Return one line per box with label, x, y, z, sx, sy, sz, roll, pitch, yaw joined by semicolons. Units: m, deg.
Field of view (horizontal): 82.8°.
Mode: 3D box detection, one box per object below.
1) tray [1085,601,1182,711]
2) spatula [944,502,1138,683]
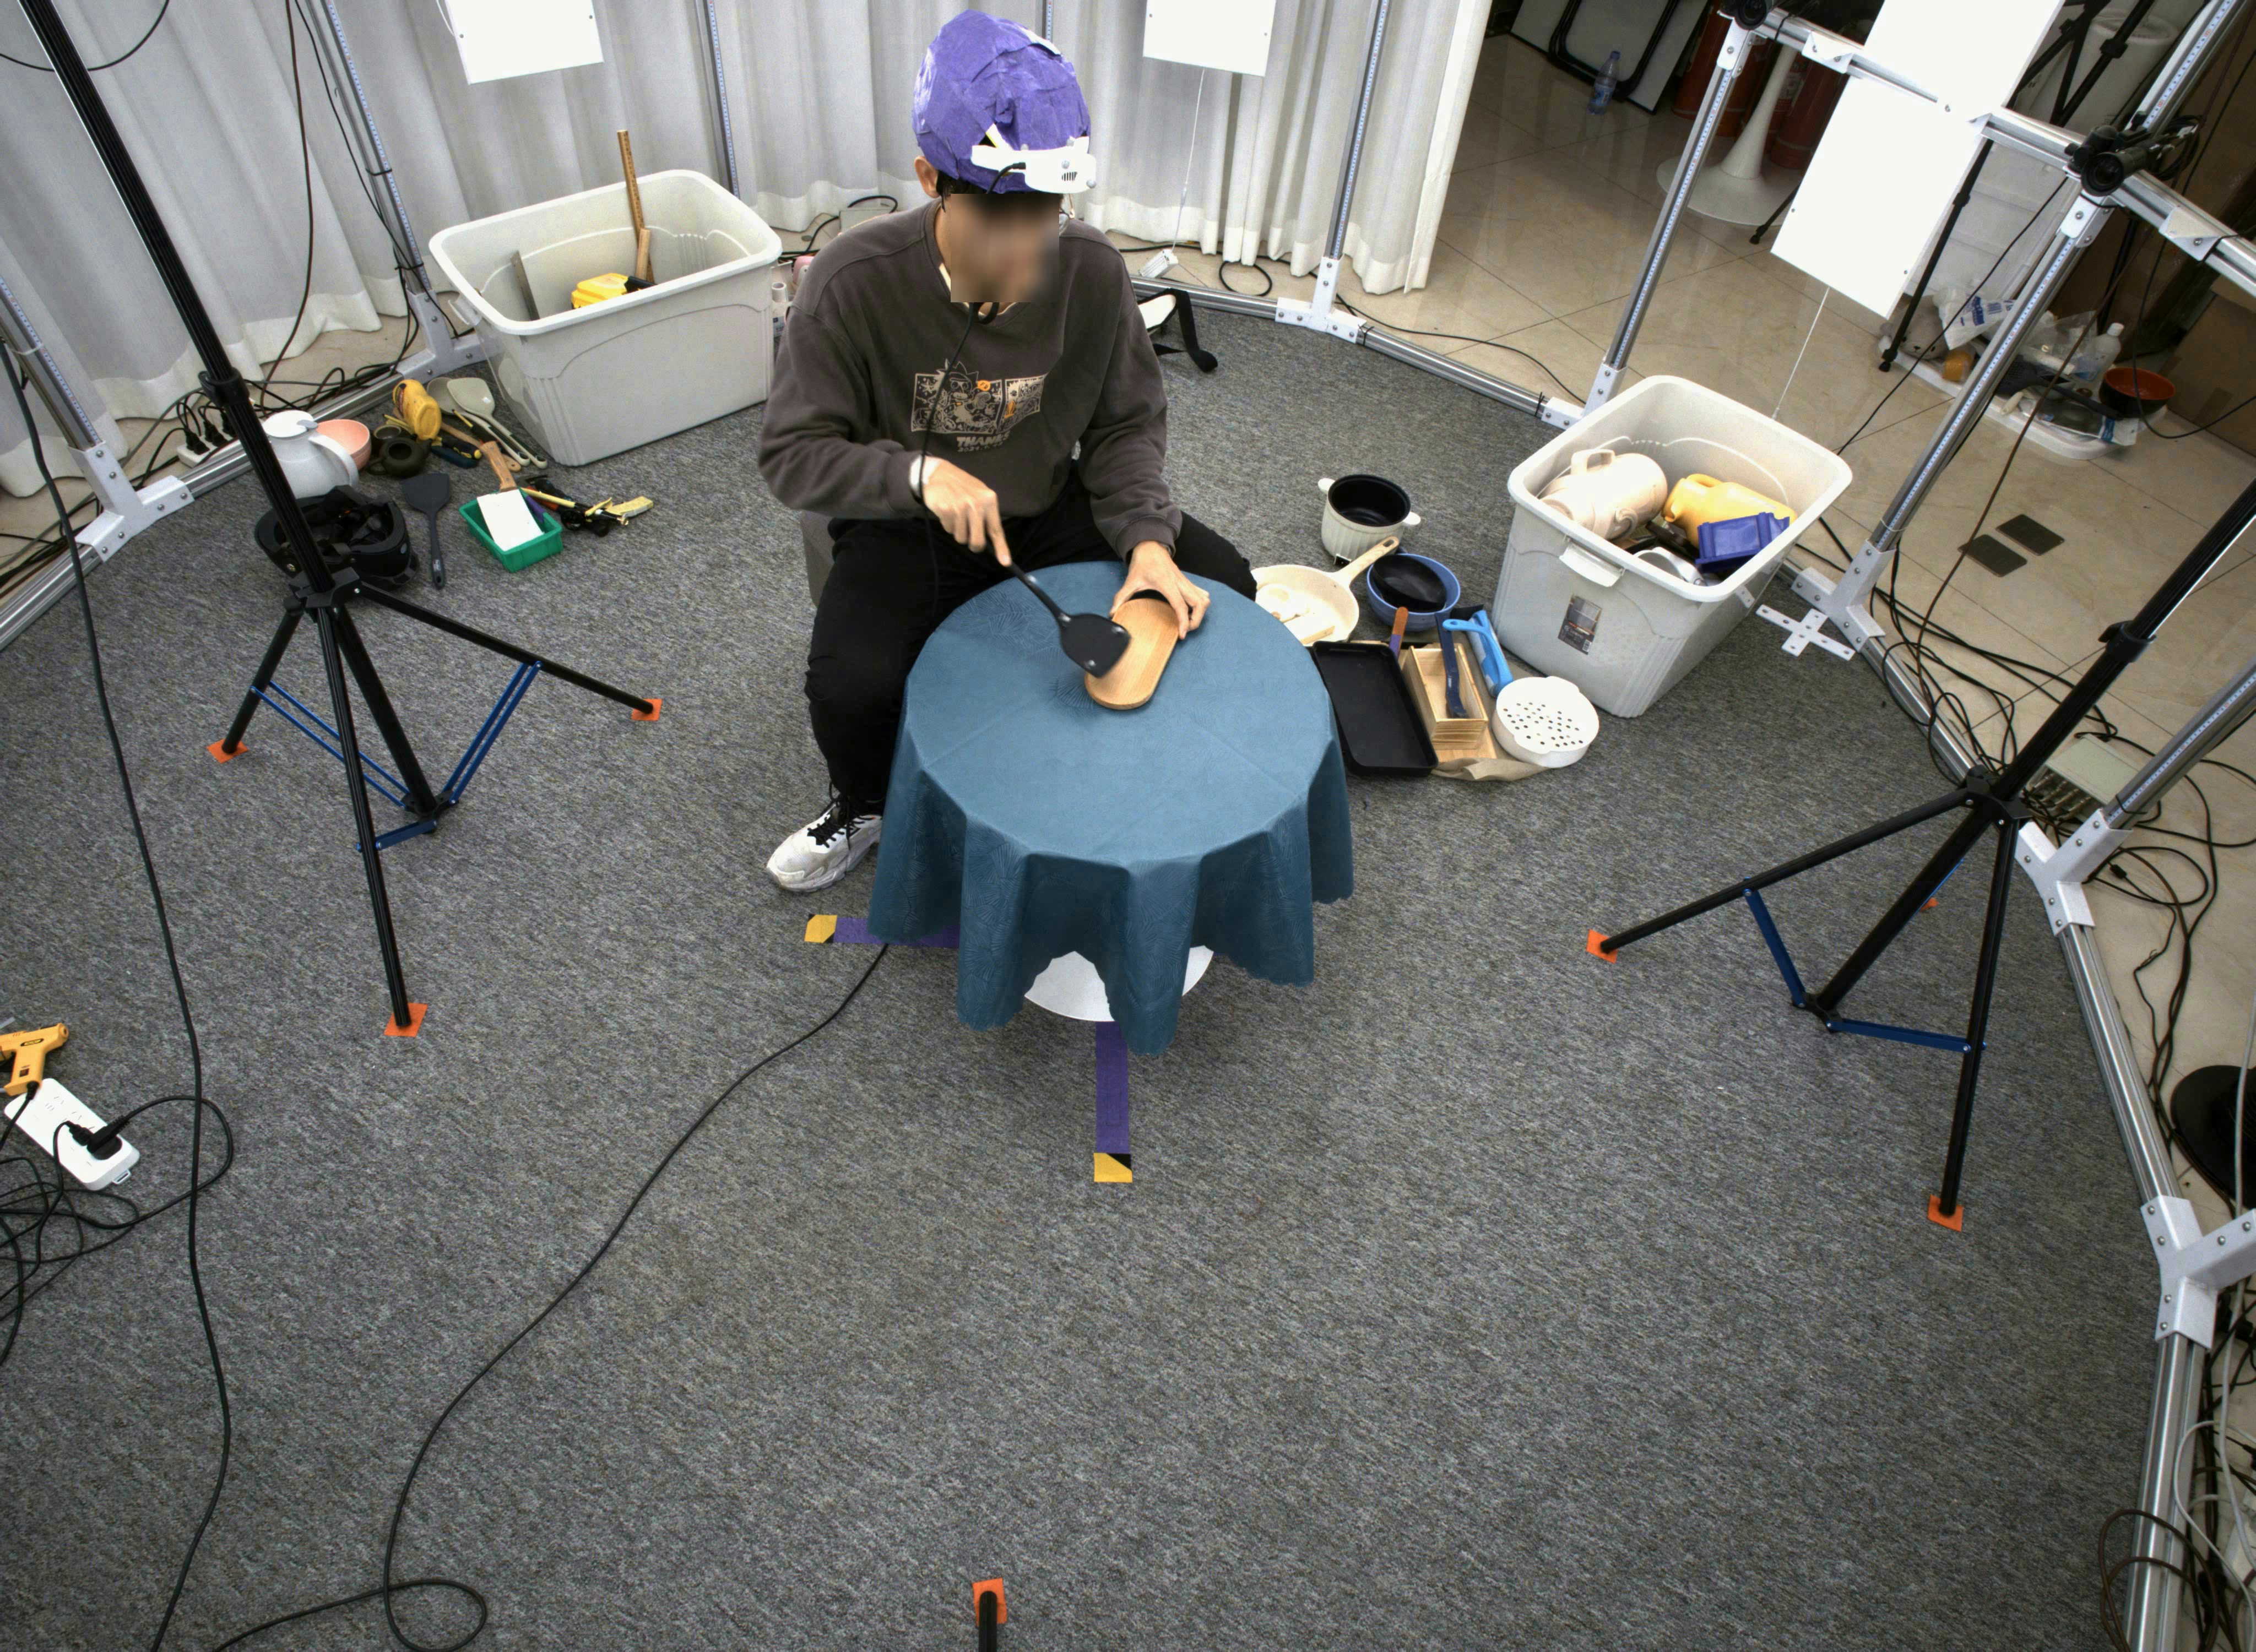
tray;0.010;-0.250;1.873;0.102;0.020;0.236;14;51;11
spatula;-0.126;-0.332;1.775;0.323;0.040;0.101;44;58;-13
